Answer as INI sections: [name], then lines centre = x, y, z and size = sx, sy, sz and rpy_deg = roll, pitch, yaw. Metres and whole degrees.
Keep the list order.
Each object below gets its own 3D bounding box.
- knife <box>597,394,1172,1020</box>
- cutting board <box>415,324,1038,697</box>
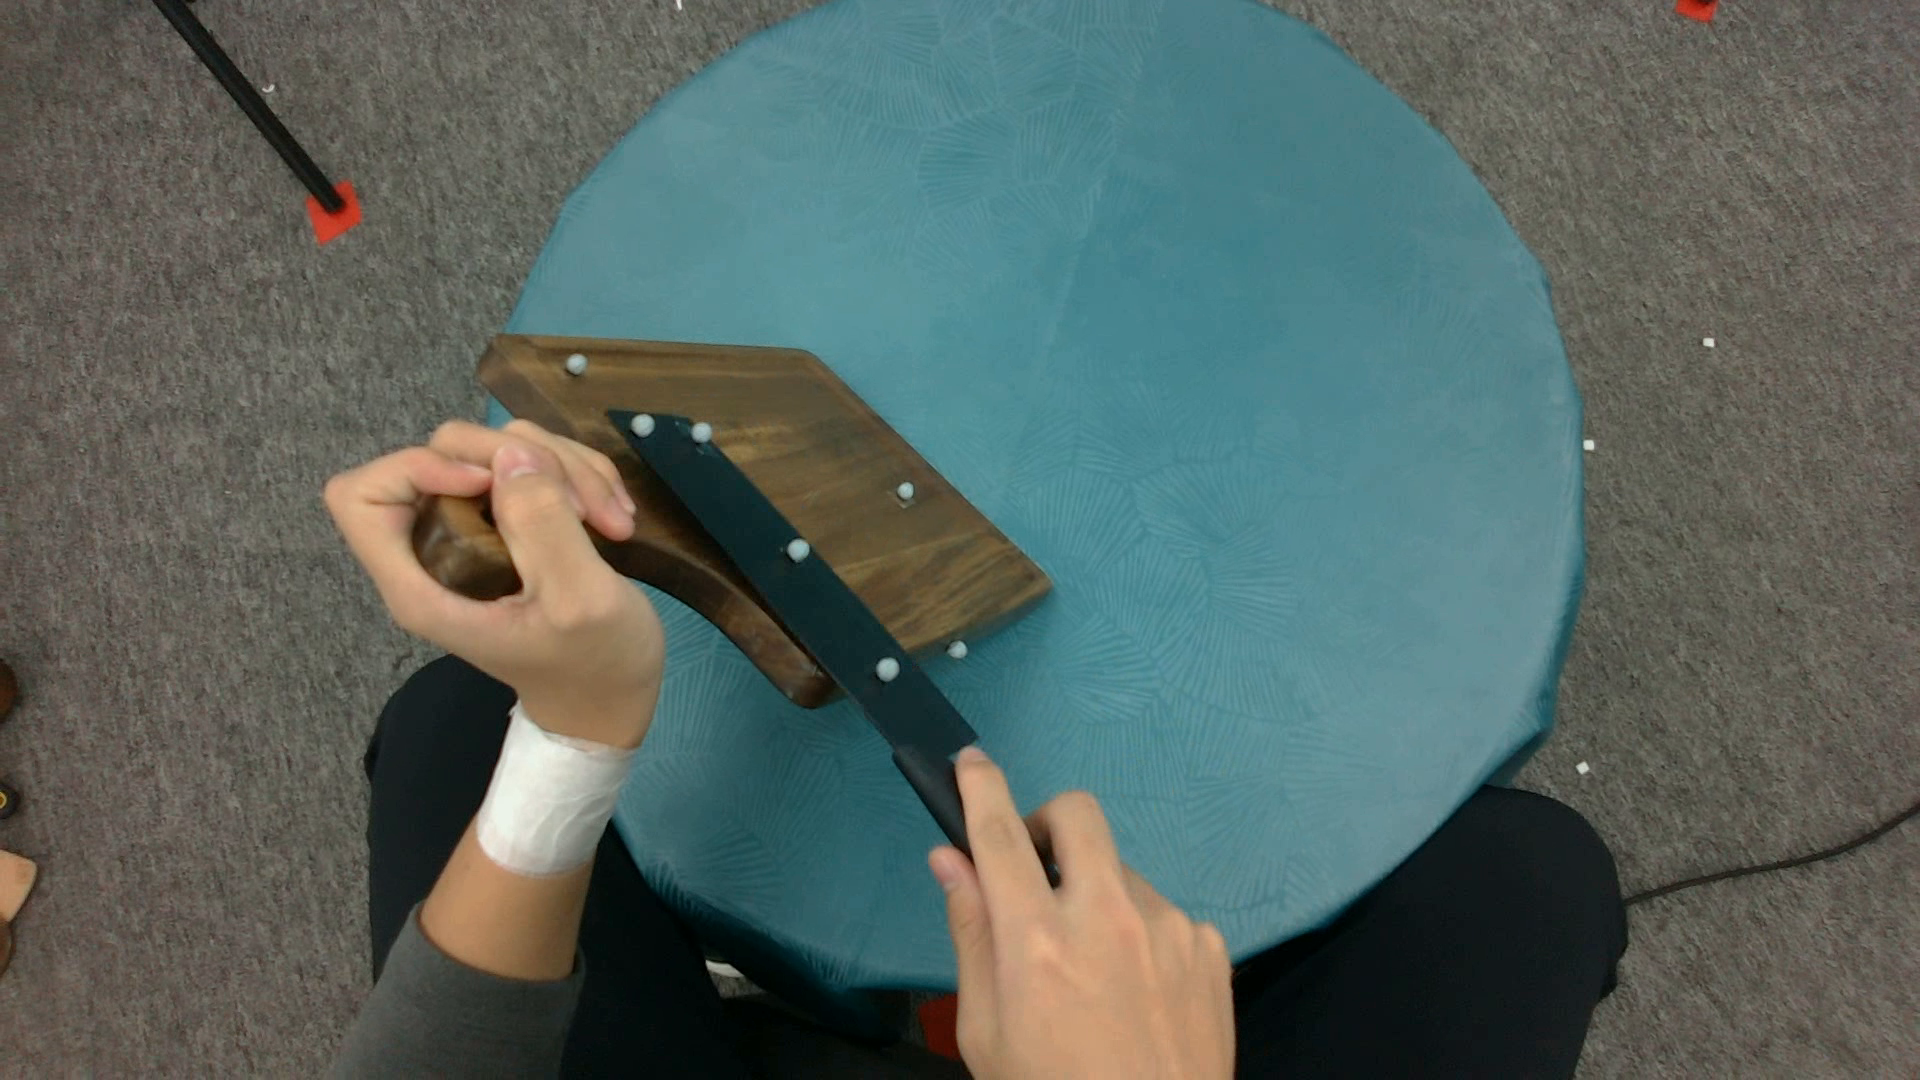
[knife]
centre = -0.029, 0.051, 0.510
size = 0.021, 0.081, 0.302
rpy_deg = -46, 73, 18
[cutting board]
centre = -0.095, -0.022, 0.583
size = 0.201, 0.353, 0.023
rpy_deg = 43, 110, 12
